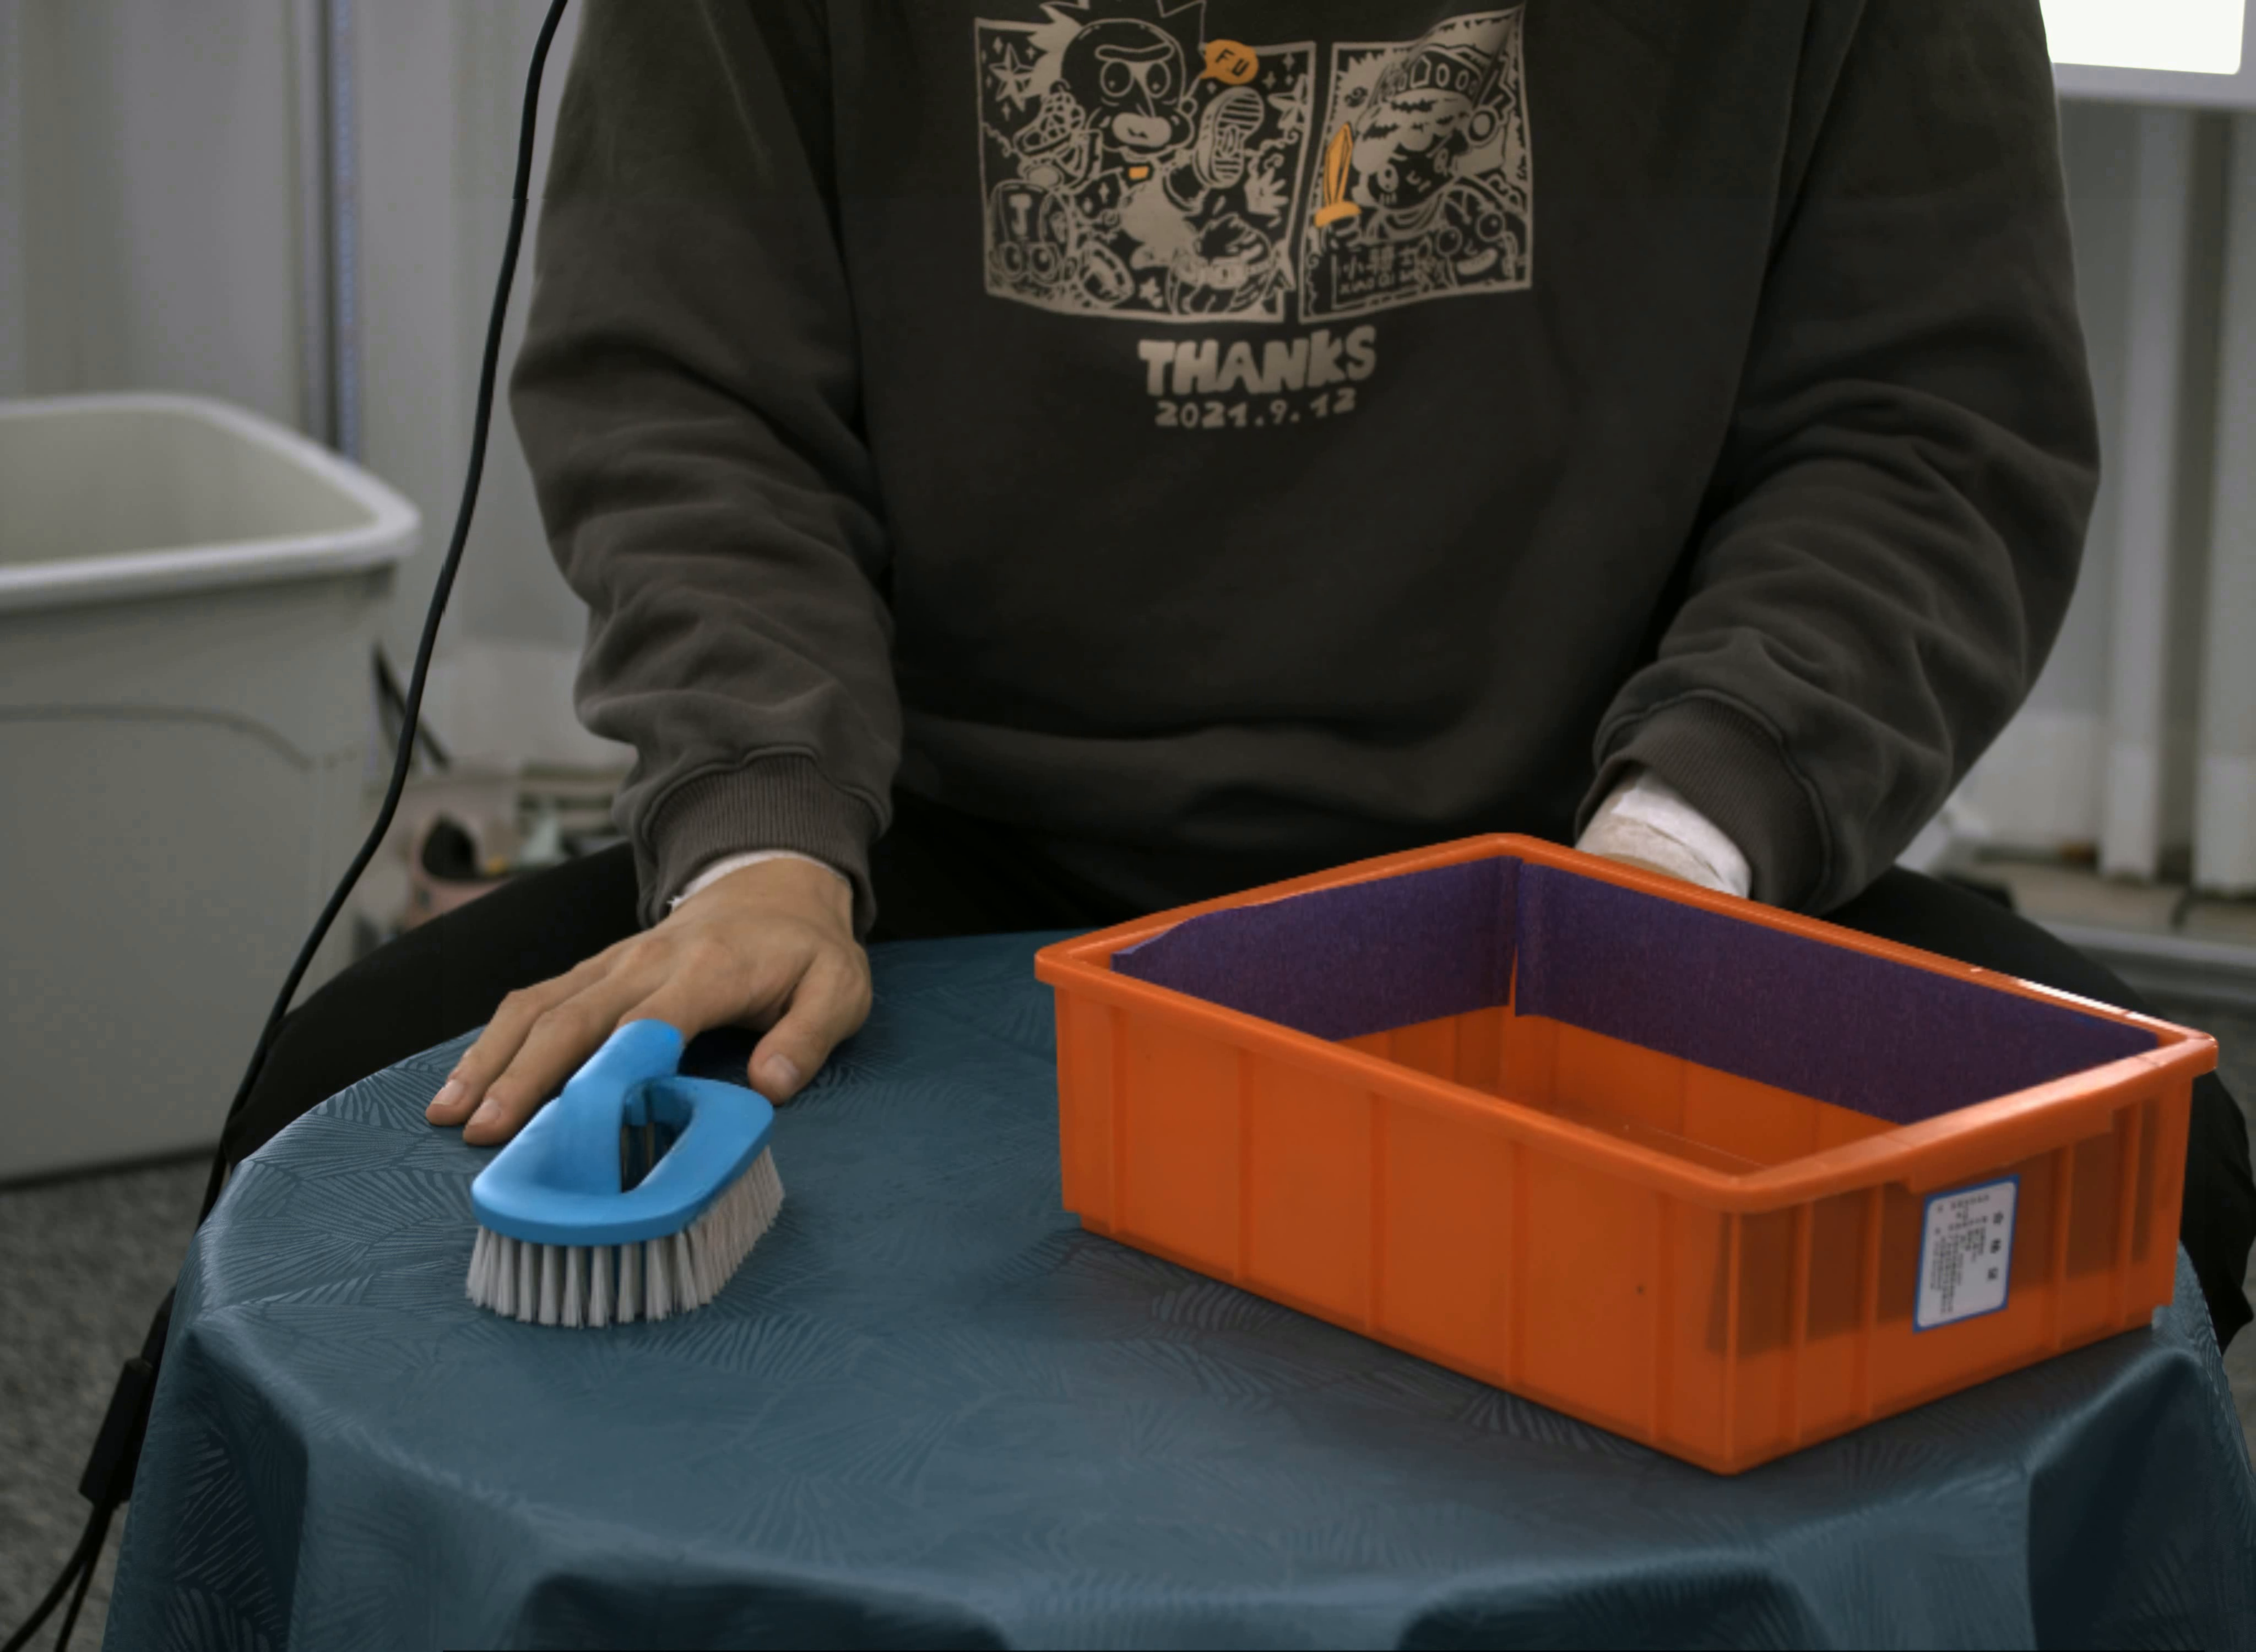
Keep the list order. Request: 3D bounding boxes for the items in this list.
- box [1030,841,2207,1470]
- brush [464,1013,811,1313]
[{"bbox_3d":[0.139,0.091,1.552,0.207,0.097,0.299,-13,21,-39],"label":"box"},{"bbox_3d":[-0.147,0.094,1.568,0.084,0.064,0.141,-1,14,14],"label":"brush"}]
